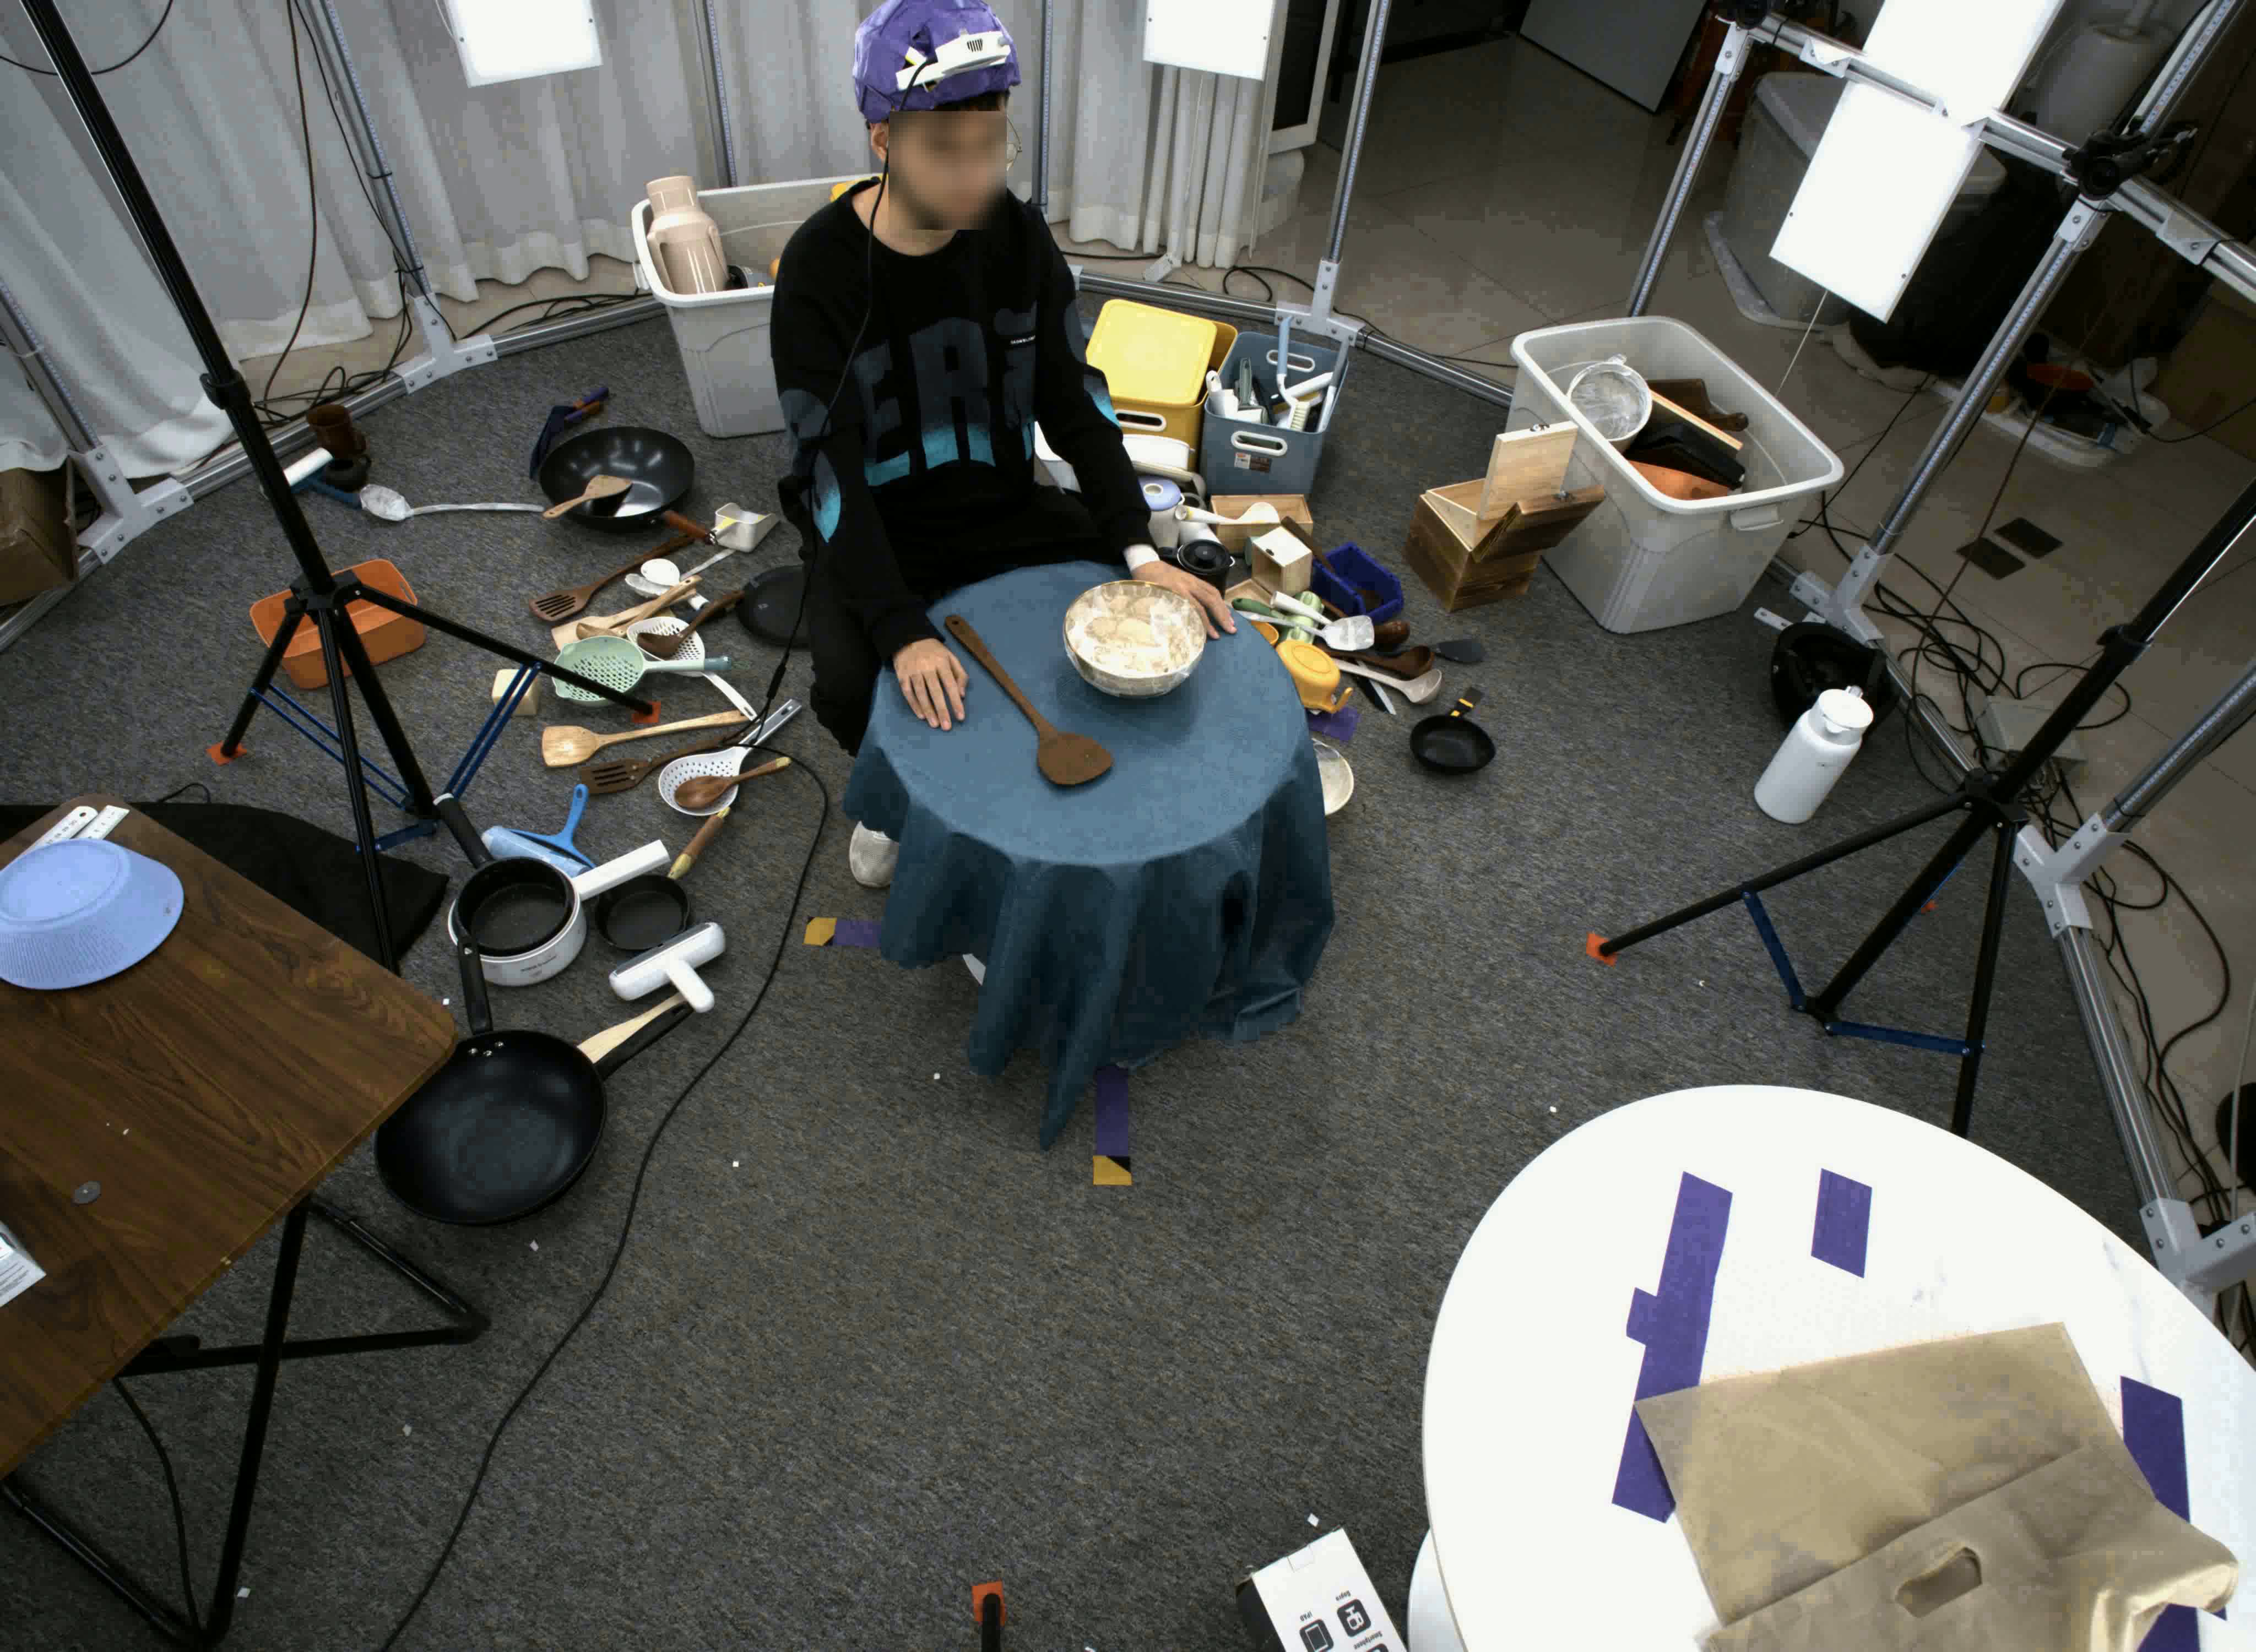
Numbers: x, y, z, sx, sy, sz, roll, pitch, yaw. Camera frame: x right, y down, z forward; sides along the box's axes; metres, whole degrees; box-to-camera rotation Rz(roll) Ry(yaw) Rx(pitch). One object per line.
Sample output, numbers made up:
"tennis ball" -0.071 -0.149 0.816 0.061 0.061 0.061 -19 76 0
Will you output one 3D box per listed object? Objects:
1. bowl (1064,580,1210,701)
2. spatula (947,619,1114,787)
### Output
"bowl" 0.011 -0.252 1.844 0.214 0.092 0.220 1 49 -1
"spatula" -0.157 -0.186 1.827 0.096 0.015 0.393 -25 55 -24
